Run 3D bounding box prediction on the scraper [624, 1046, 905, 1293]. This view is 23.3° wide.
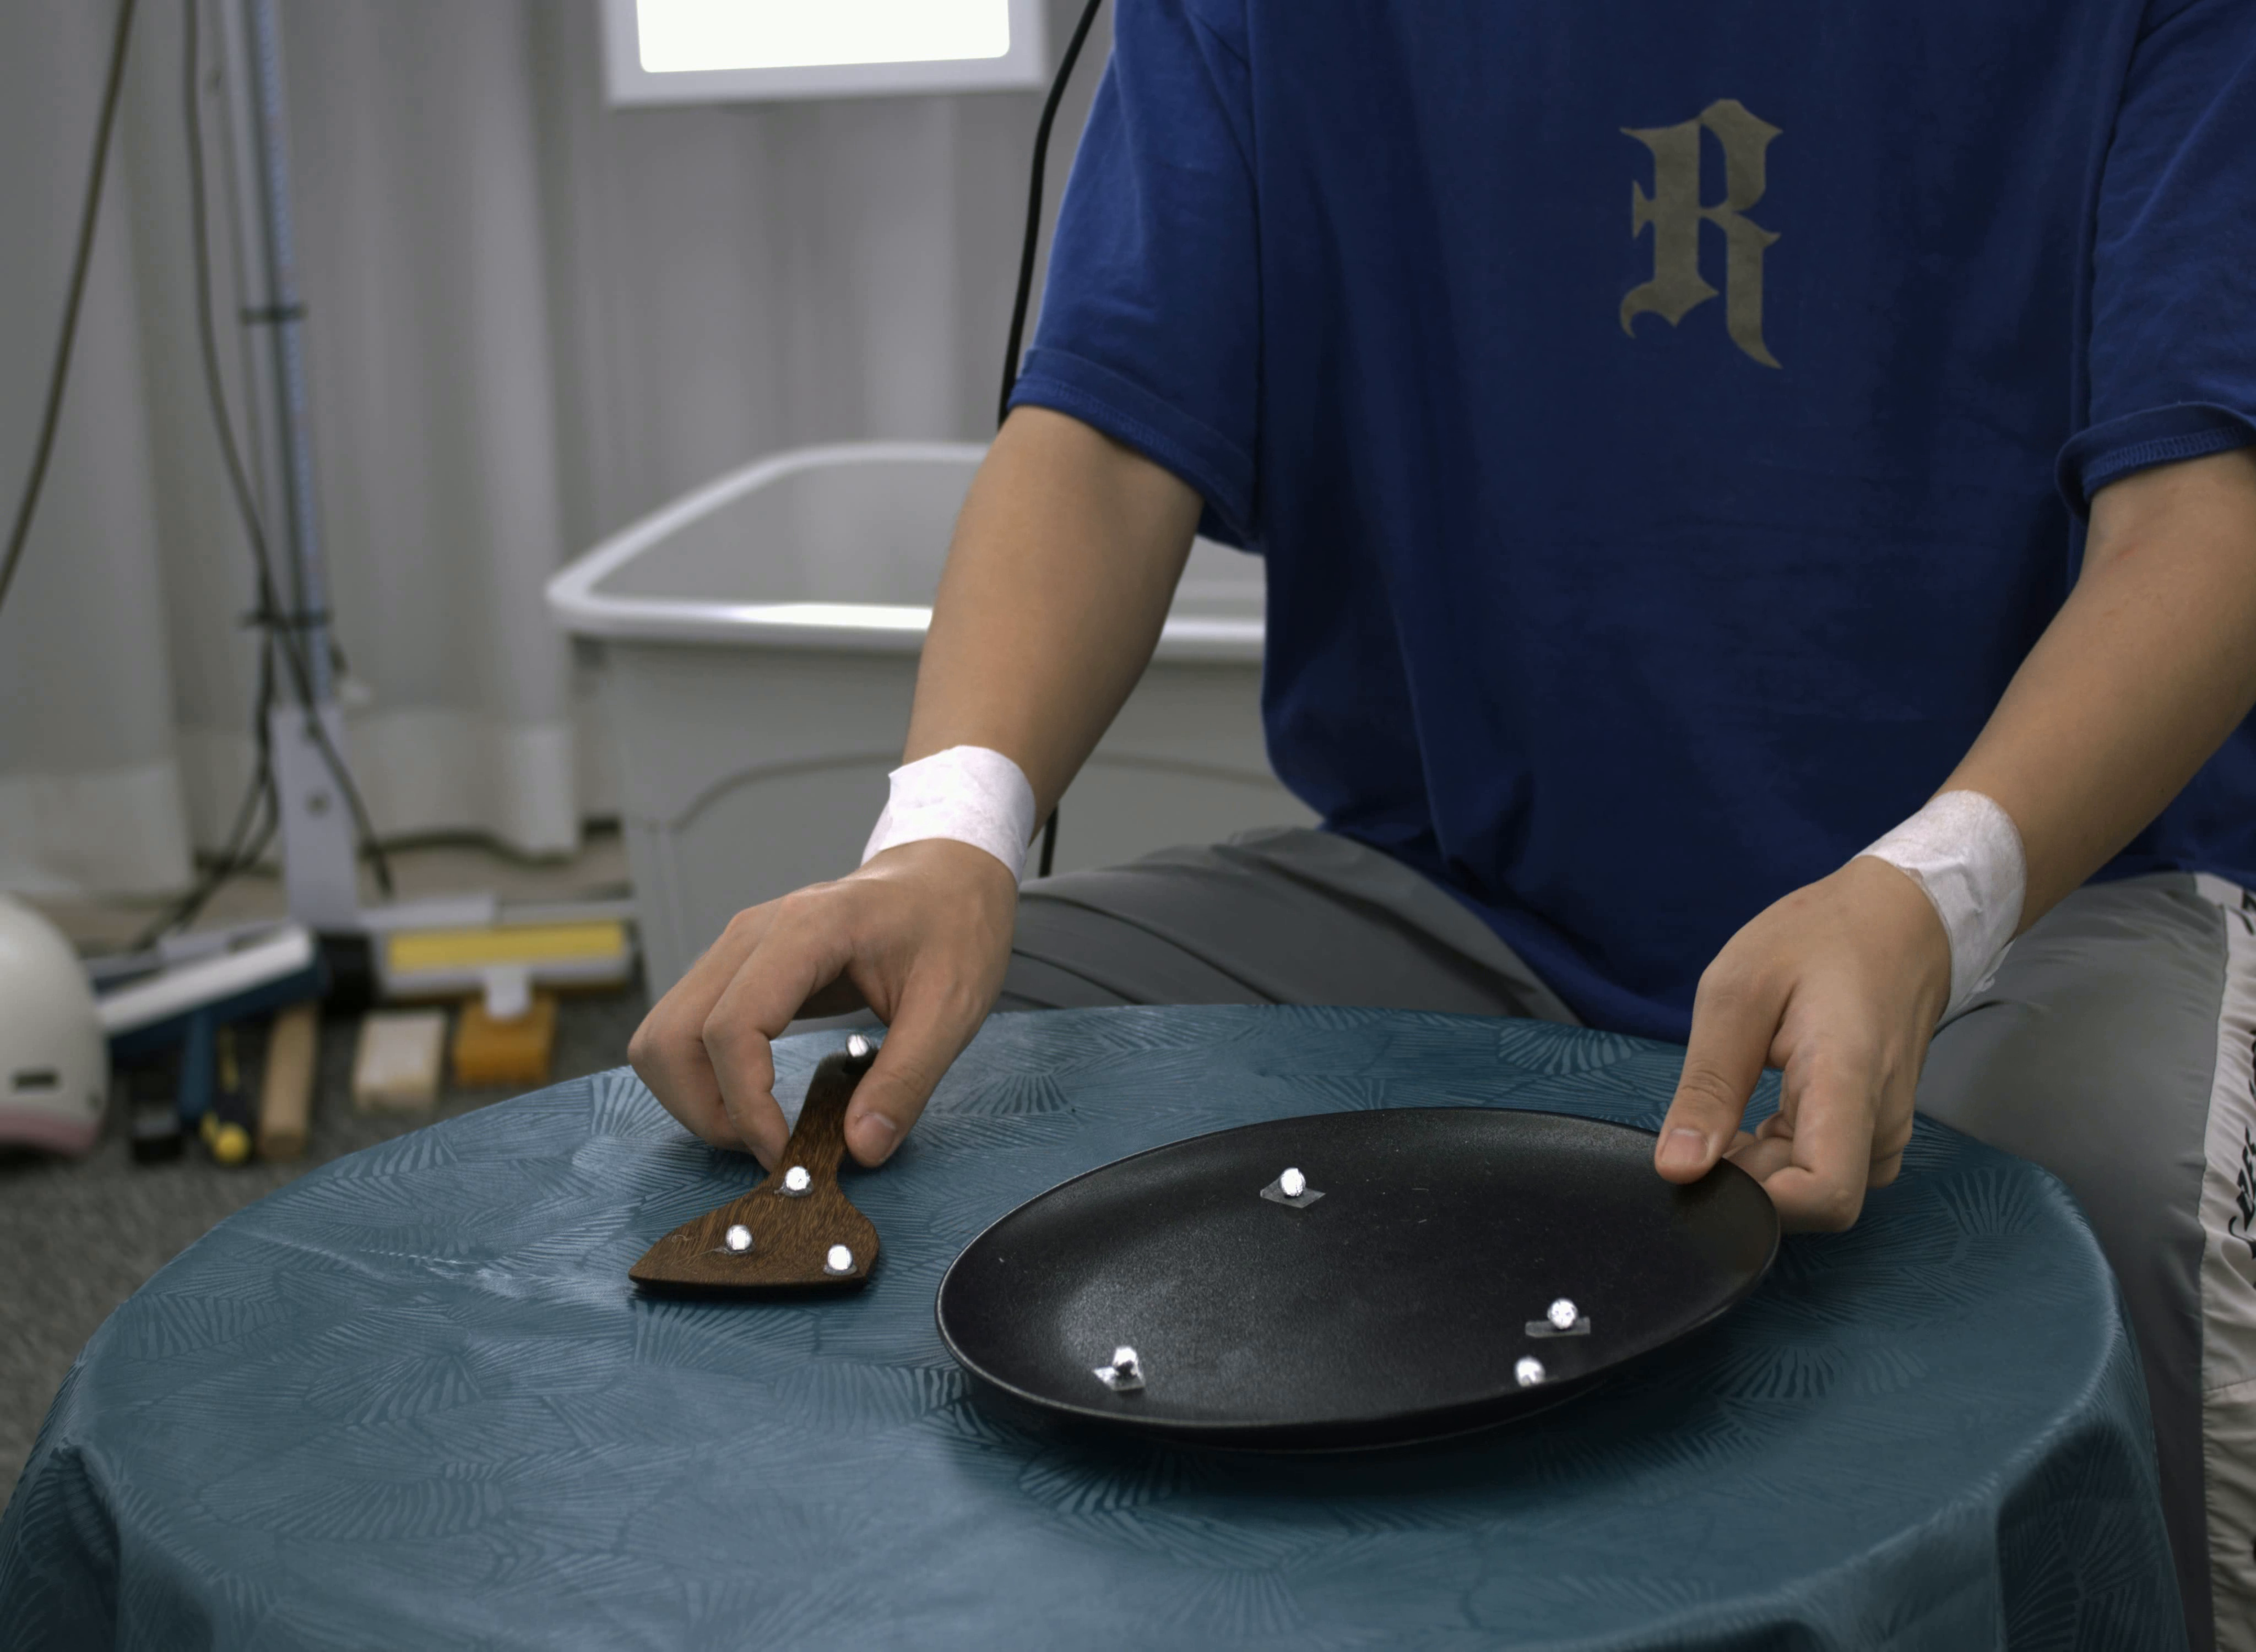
[{"bbox_3d":[-0.101,0.108,1.724,0.075,0.011,0.213,1,18,8],"label":"scraper"}]

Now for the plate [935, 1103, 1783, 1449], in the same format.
[{"bbox_3d":[0.066,0.131,1.562,0.243,0.023,0.246,-7,17,2],"label":"plate"}]
